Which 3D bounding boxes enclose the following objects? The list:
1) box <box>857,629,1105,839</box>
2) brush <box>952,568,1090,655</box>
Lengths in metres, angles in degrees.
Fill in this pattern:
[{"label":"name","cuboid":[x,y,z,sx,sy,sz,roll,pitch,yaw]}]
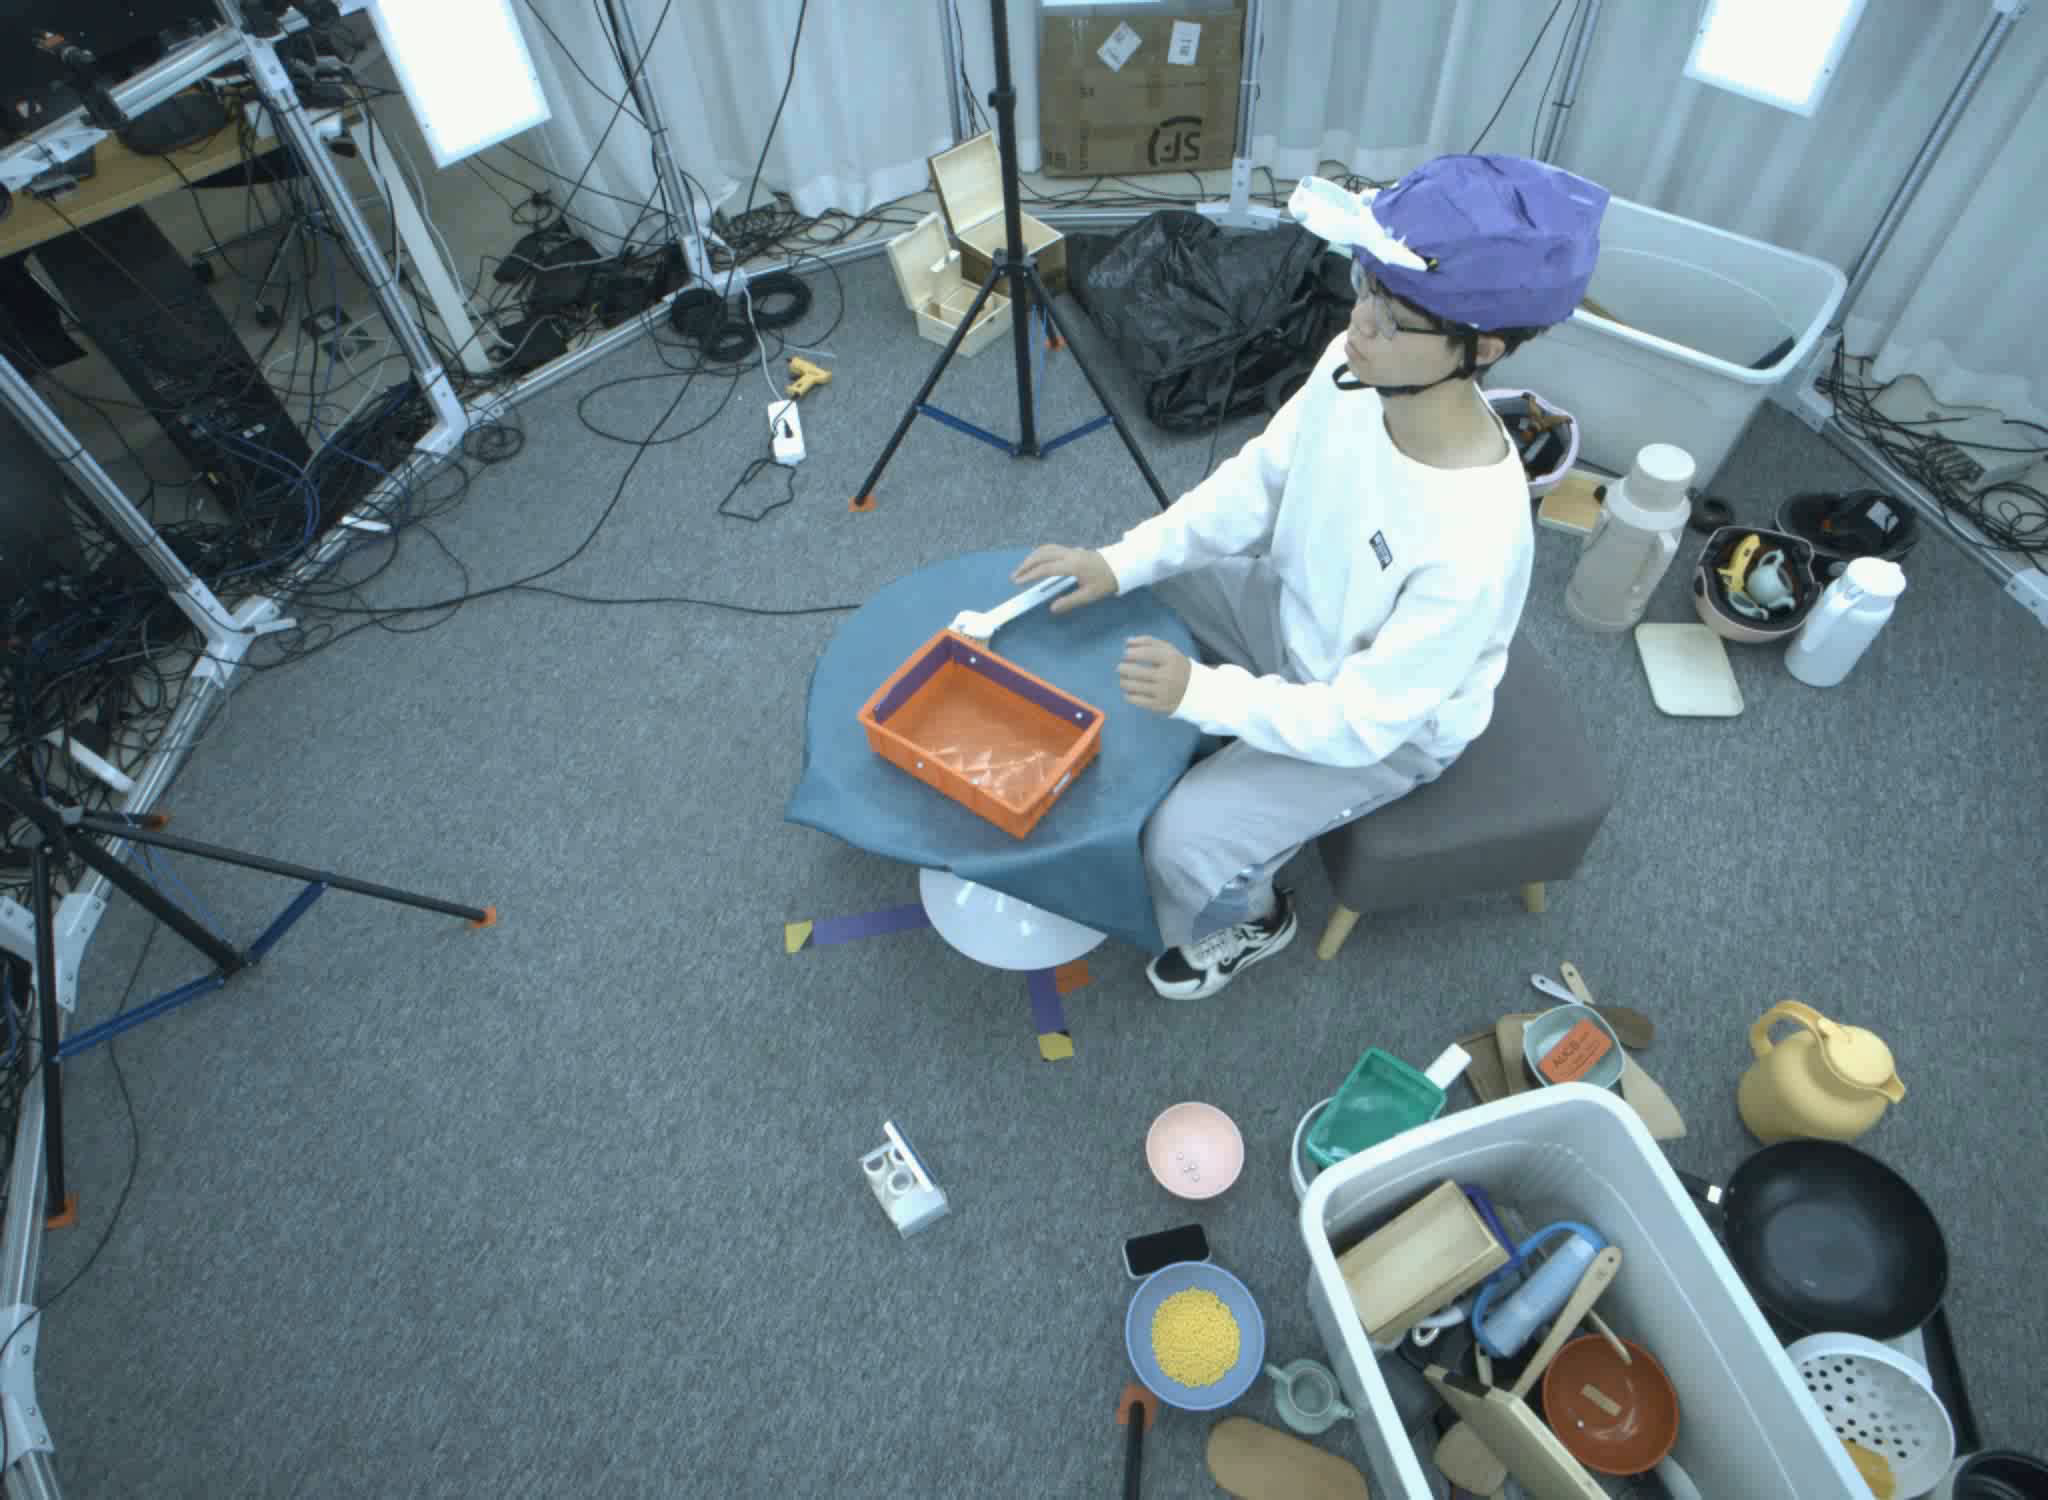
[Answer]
[{"label":"box","cuboid":[-0.060,-0.023,1.751,0.299,0.097,0.207,31,60,20]},{"label":"brush","cuboid":[-0.002,-0.220,1.932,0.270,0.056,0.068,-29,72,-34]}]
